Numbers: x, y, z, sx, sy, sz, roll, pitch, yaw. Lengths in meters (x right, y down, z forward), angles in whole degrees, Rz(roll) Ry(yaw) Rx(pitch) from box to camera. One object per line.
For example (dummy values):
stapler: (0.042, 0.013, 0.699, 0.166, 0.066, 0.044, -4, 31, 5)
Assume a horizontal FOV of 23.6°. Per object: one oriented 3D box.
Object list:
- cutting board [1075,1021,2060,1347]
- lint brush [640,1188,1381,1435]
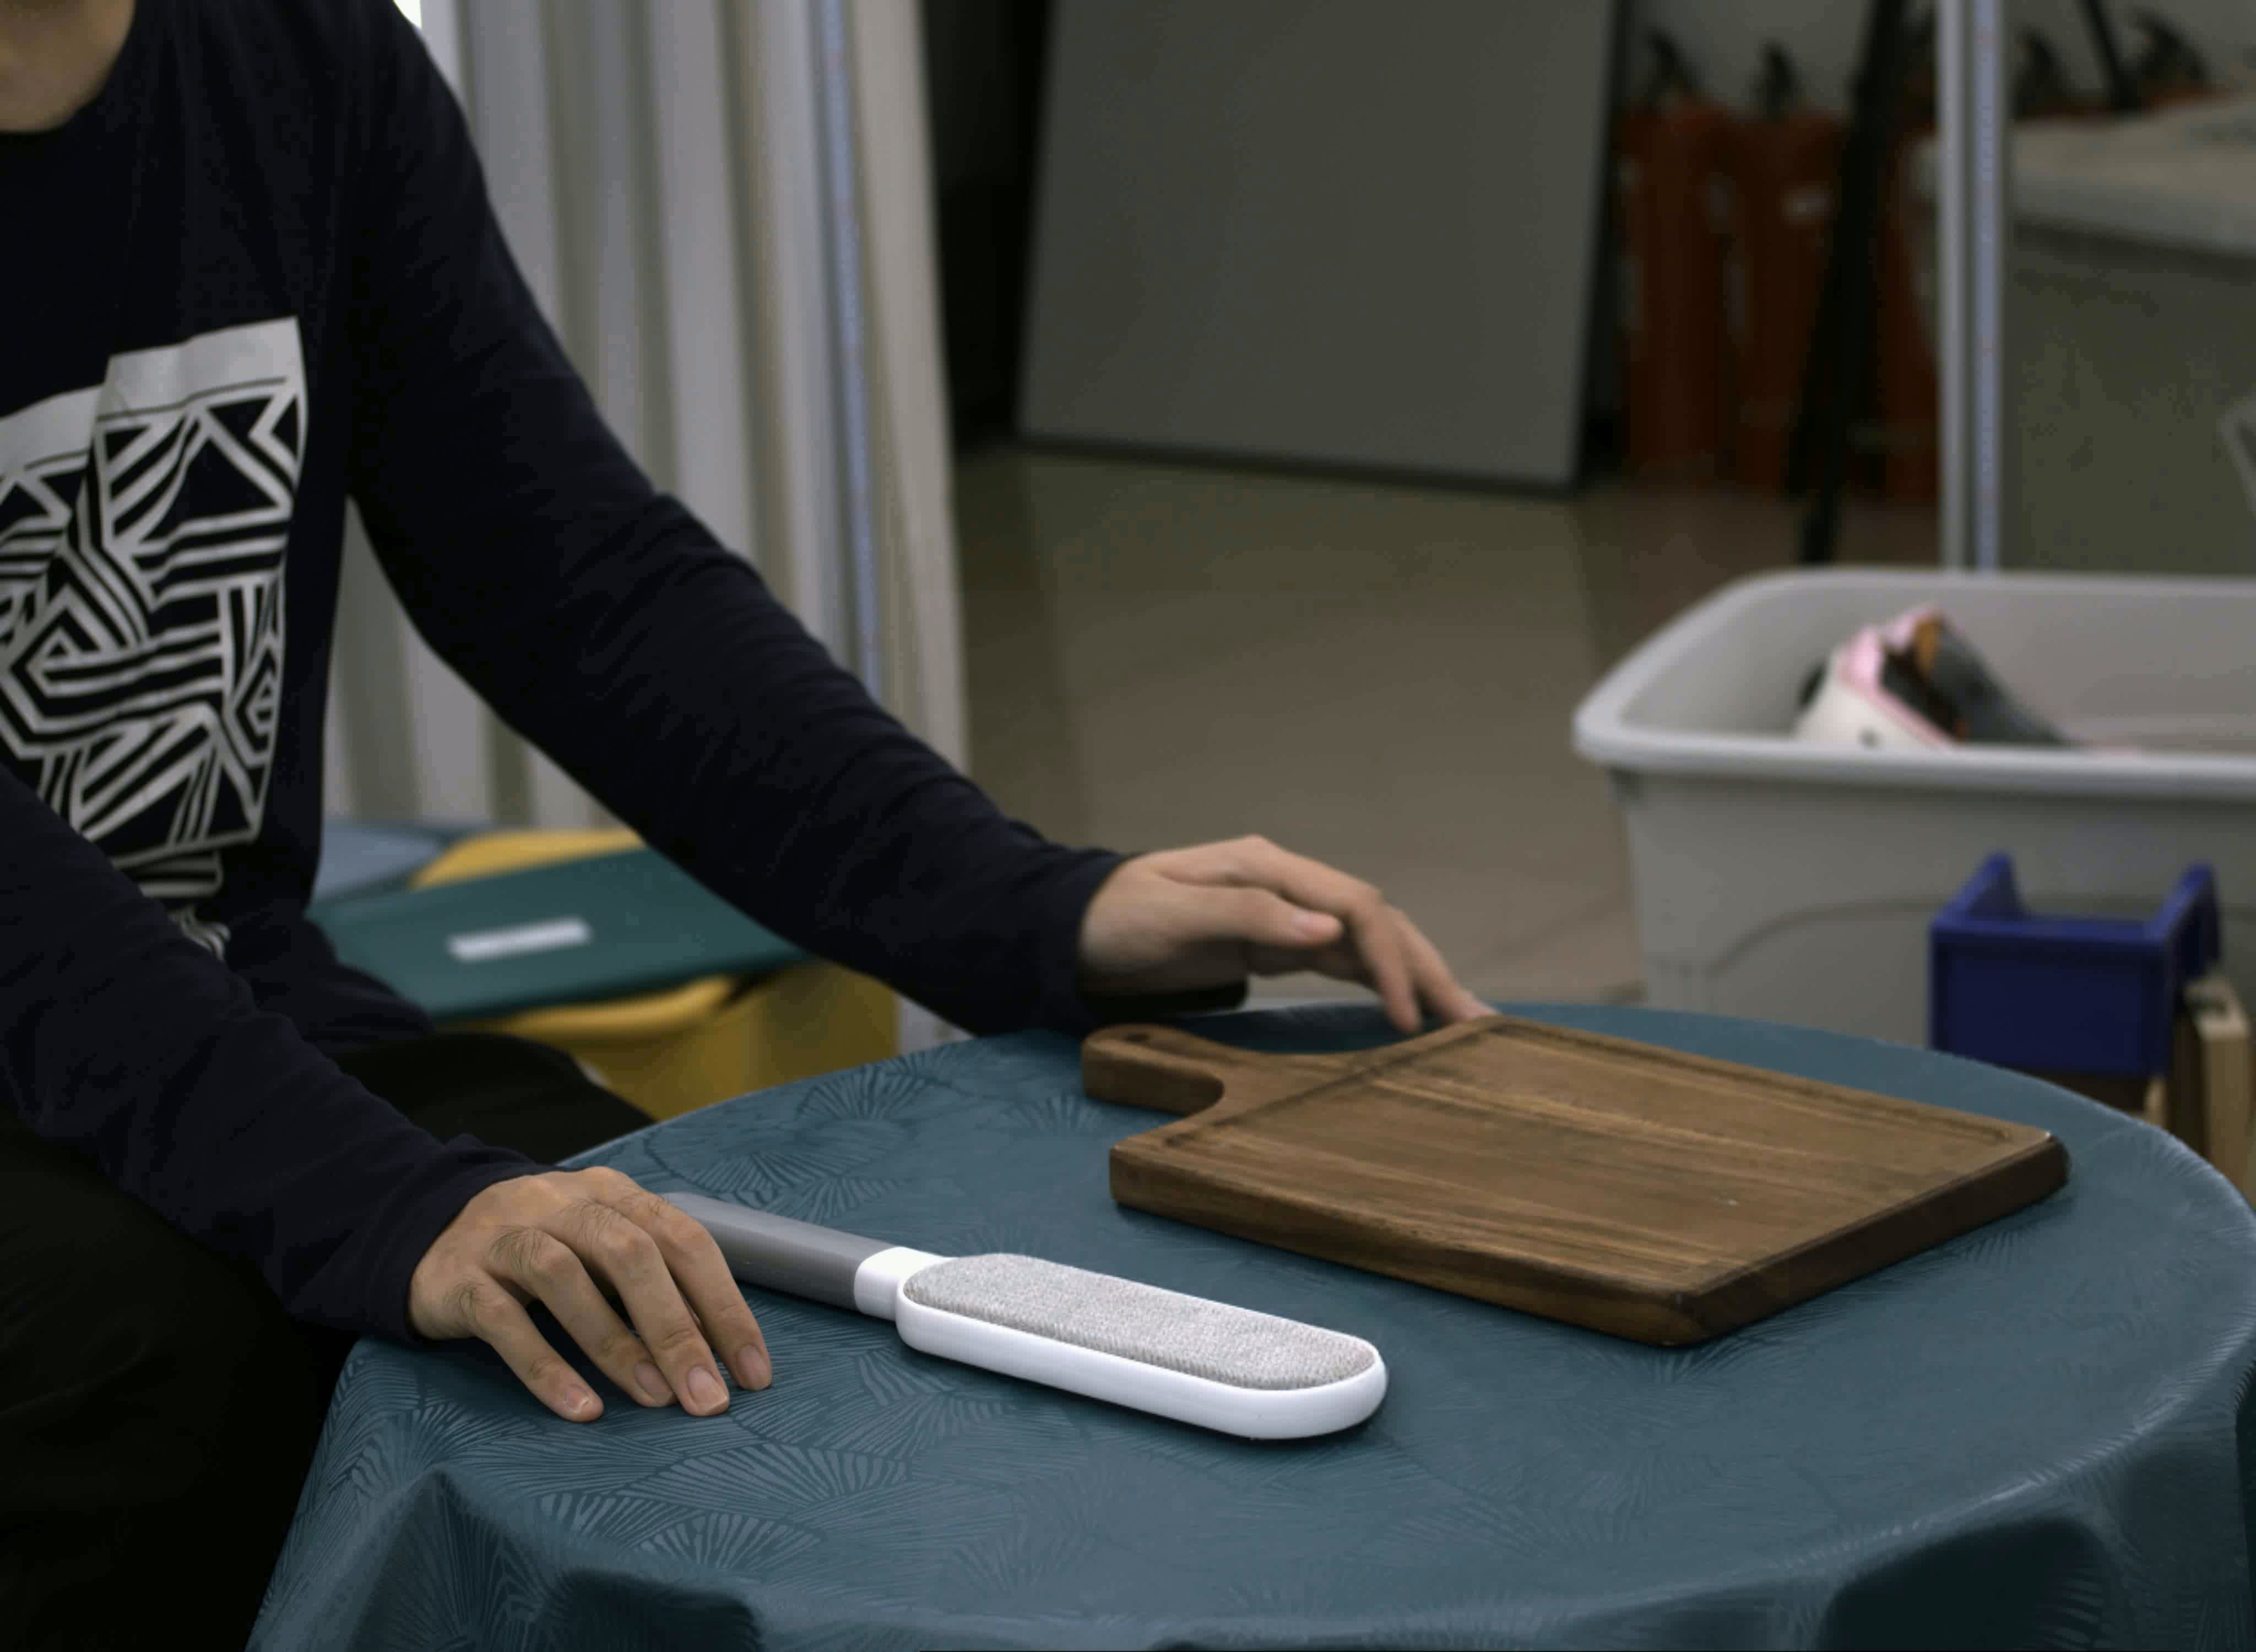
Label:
cutting board: (0.111, 0.105, 1.769, 0.197, 0.023, 0.355, -16, 18, -41)
lint brush: (-0.043, 0.143, 1.640, 0.312, 0.021, 0.059, 9, 24, 45)
